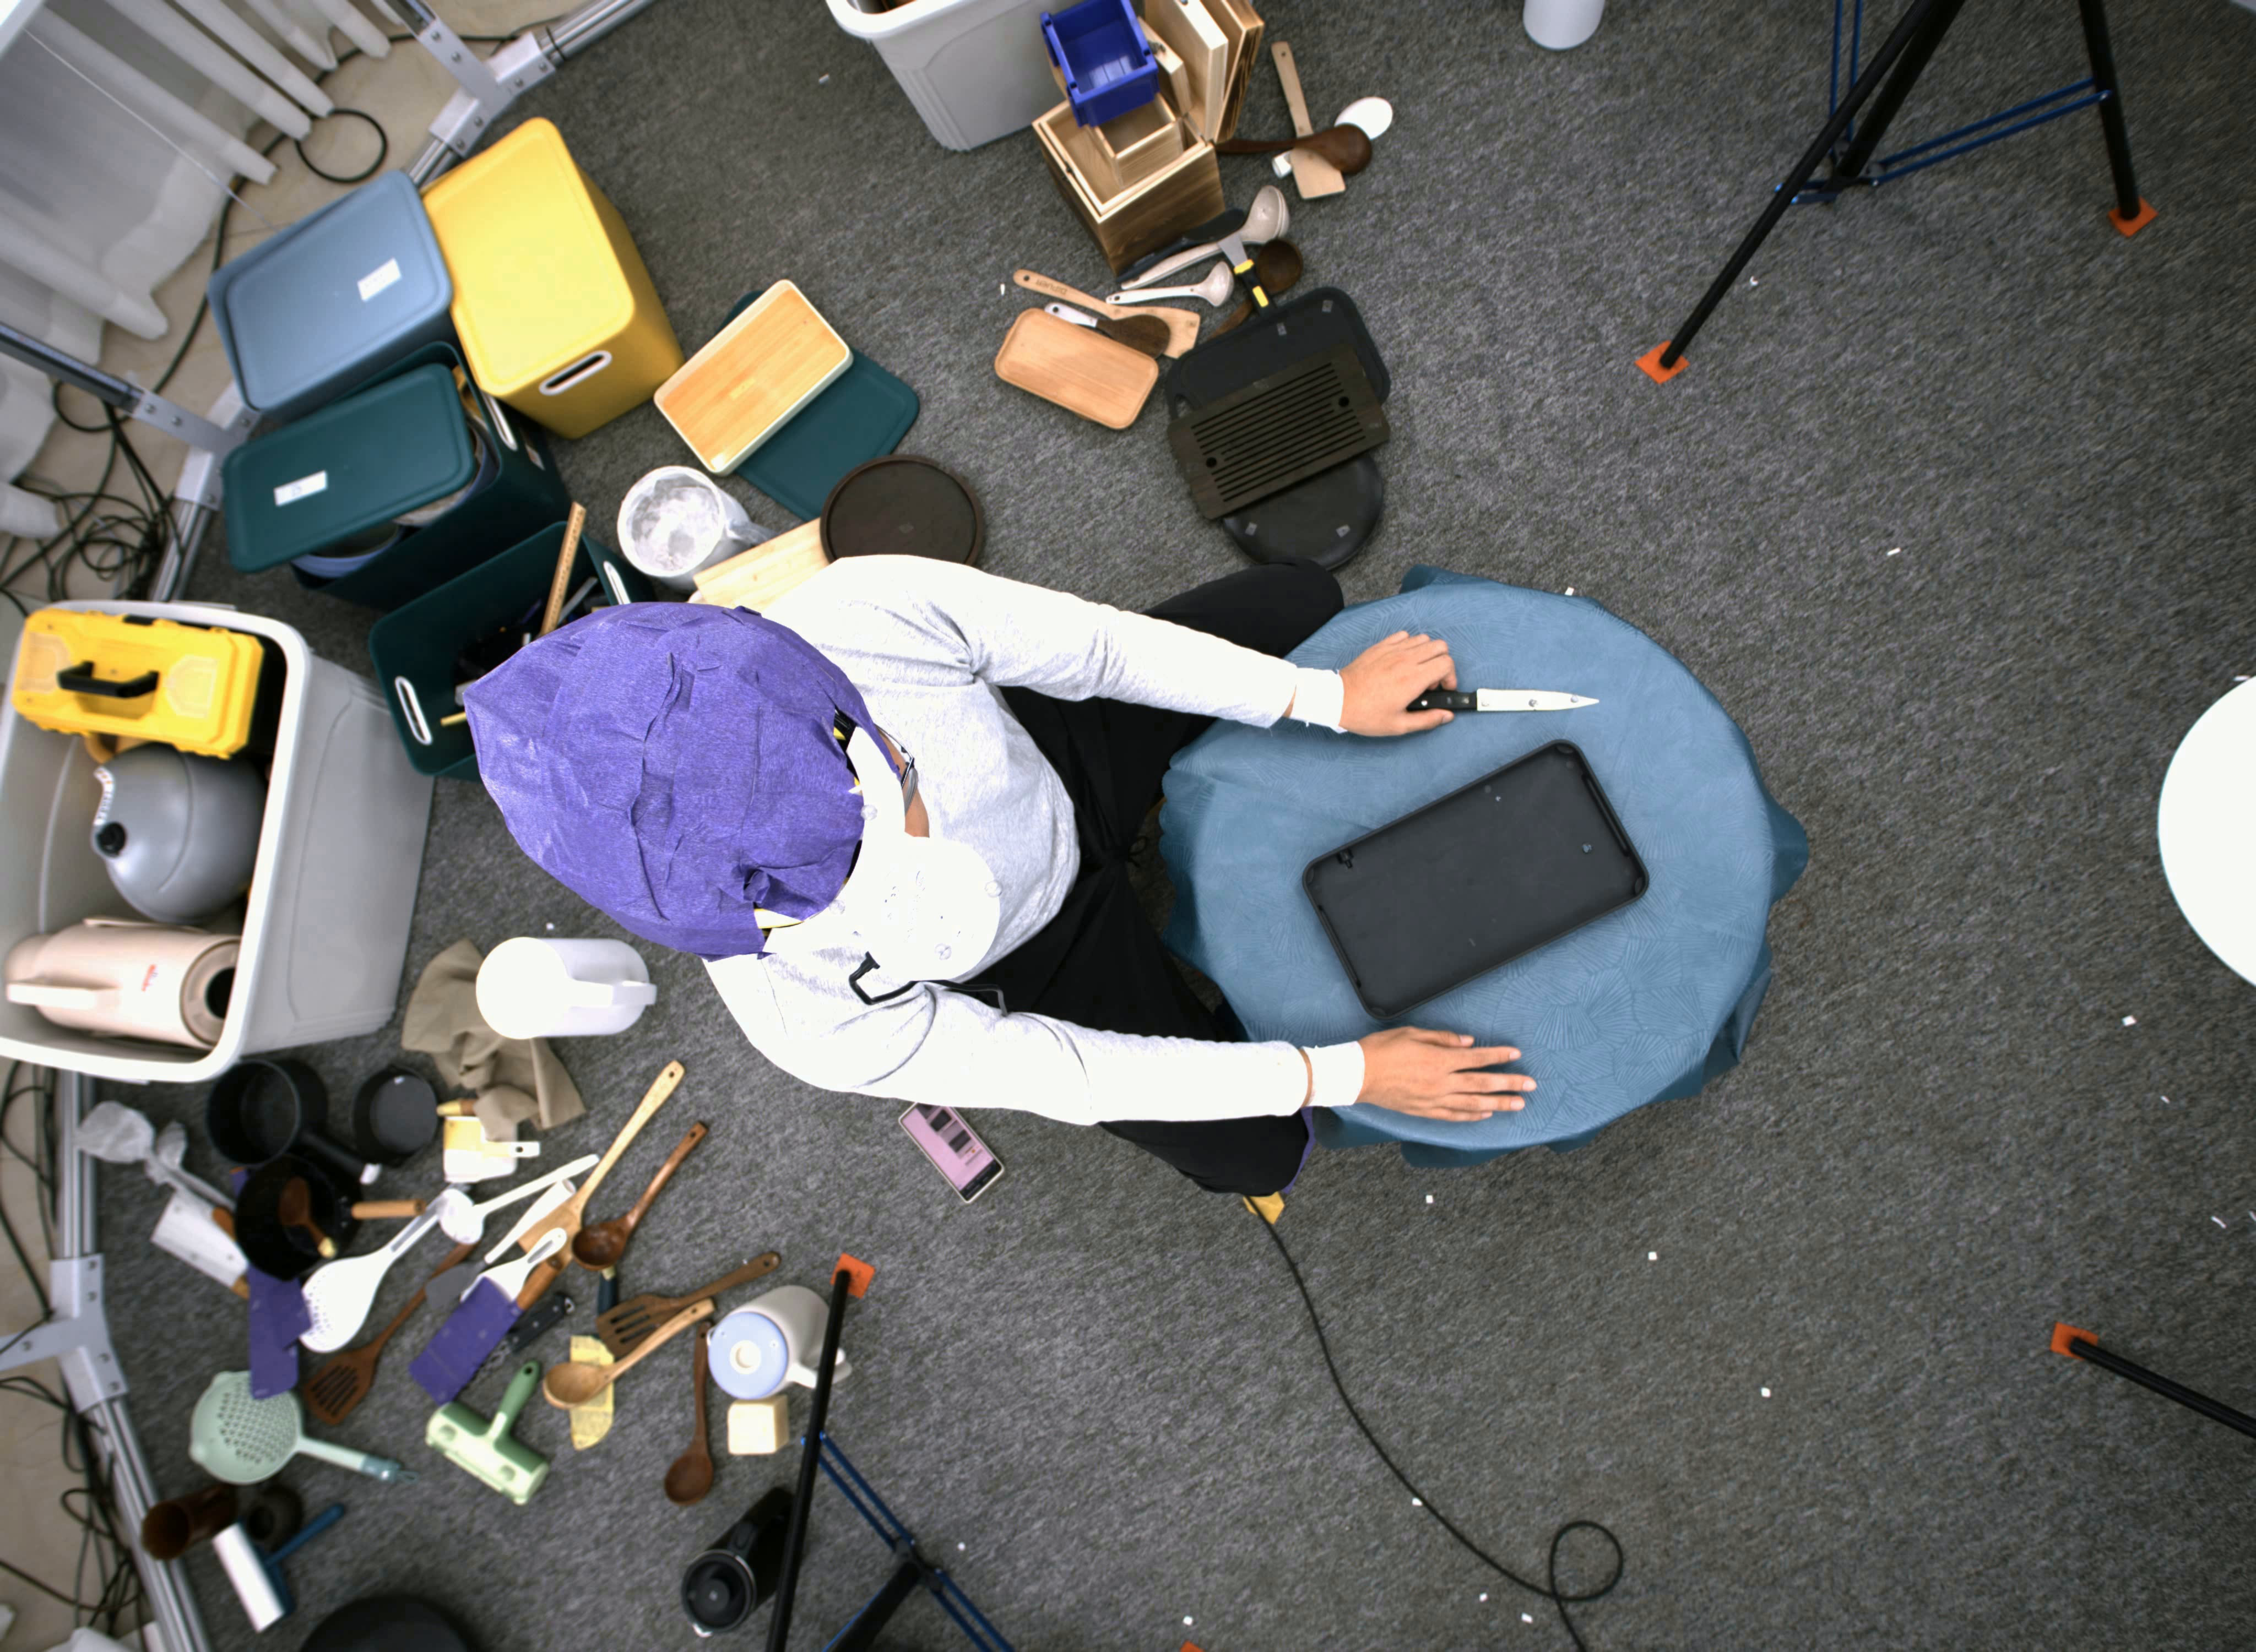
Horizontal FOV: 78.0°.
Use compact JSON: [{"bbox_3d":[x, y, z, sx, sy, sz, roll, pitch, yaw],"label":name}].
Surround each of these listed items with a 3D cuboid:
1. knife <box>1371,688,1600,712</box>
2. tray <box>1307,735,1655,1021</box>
[{"bbox_3d":[0.376,-0.134,1.444,0.239,0.016,0.024,-1,86,7],"label":"knife"},{"bbox_3d":[0.362,0.053,1.426,0.320,0.037,0.183,-29,82,8],"label":"tray"}]
